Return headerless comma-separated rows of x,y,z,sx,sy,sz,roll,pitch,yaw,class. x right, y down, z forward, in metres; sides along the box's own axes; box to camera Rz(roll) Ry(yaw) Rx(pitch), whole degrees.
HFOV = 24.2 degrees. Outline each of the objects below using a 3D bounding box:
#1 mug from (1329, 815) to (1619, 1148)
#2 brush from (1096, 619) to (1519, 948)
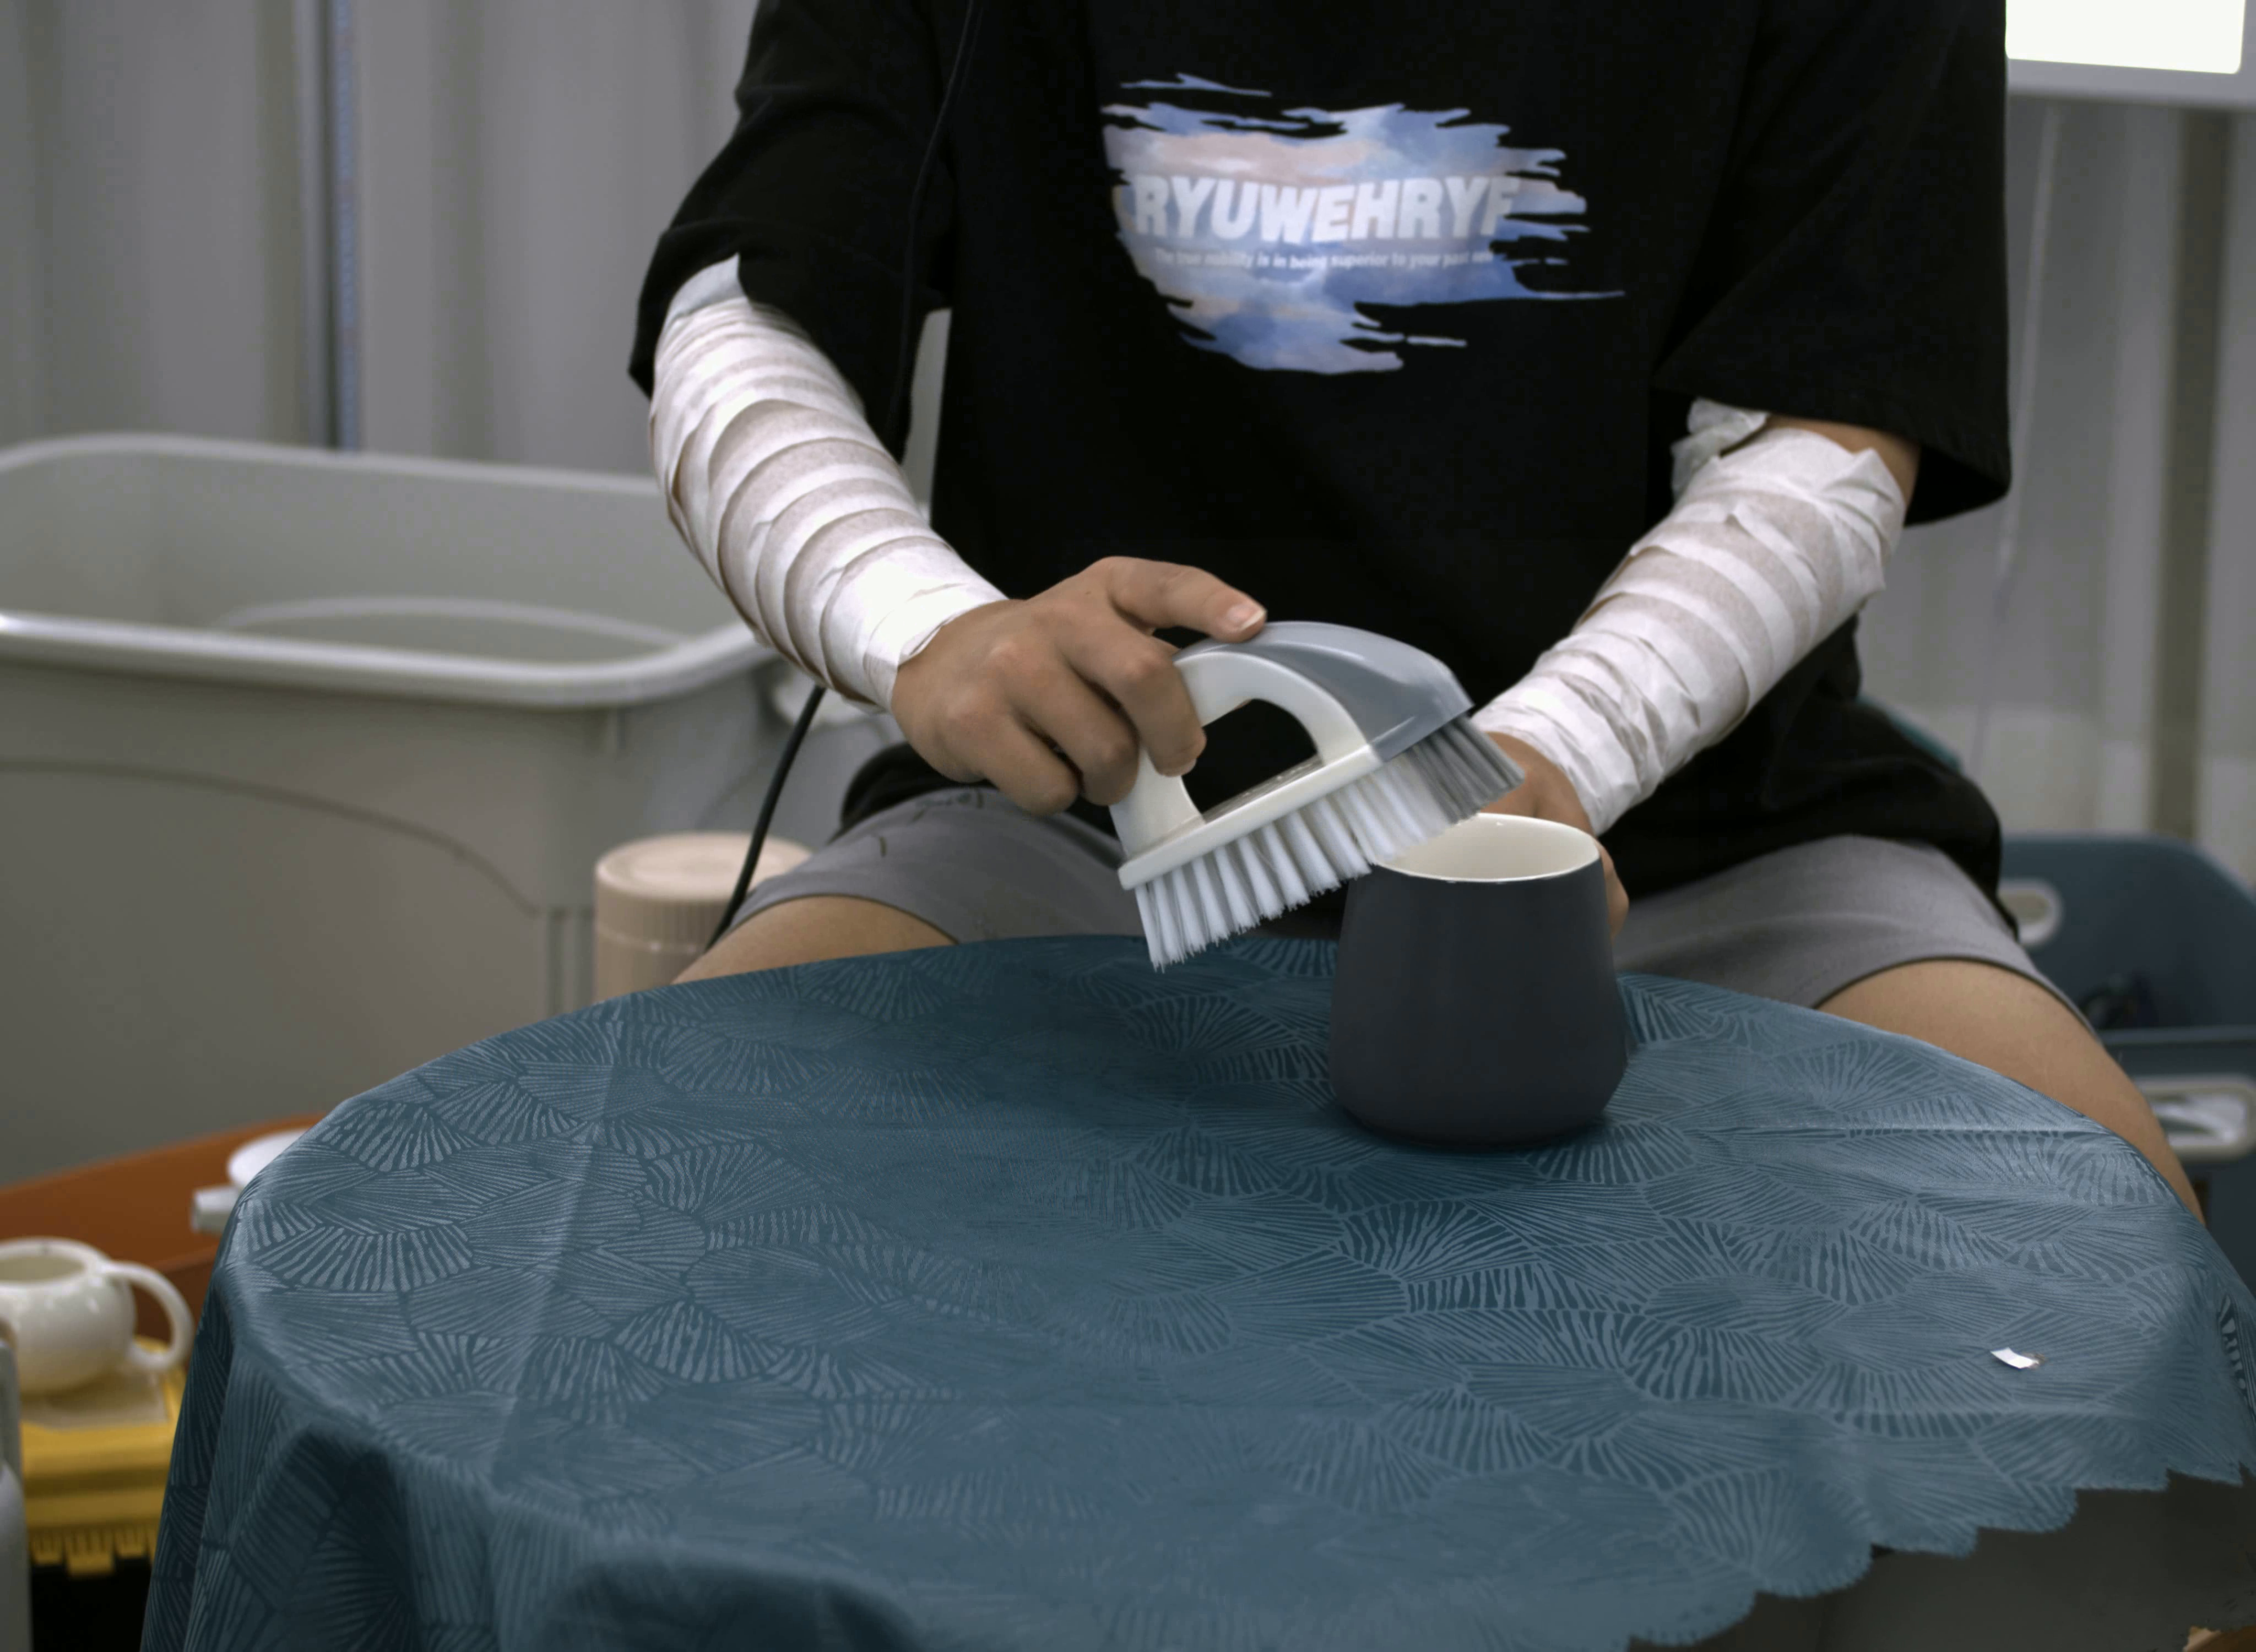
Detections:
0.109,0.046,1.701,0.093,0.090,0.122,-3,16,-8,mug
0.051,-0.025,1.687,0.061,0.094,0.174,-38,9,-36,brush
